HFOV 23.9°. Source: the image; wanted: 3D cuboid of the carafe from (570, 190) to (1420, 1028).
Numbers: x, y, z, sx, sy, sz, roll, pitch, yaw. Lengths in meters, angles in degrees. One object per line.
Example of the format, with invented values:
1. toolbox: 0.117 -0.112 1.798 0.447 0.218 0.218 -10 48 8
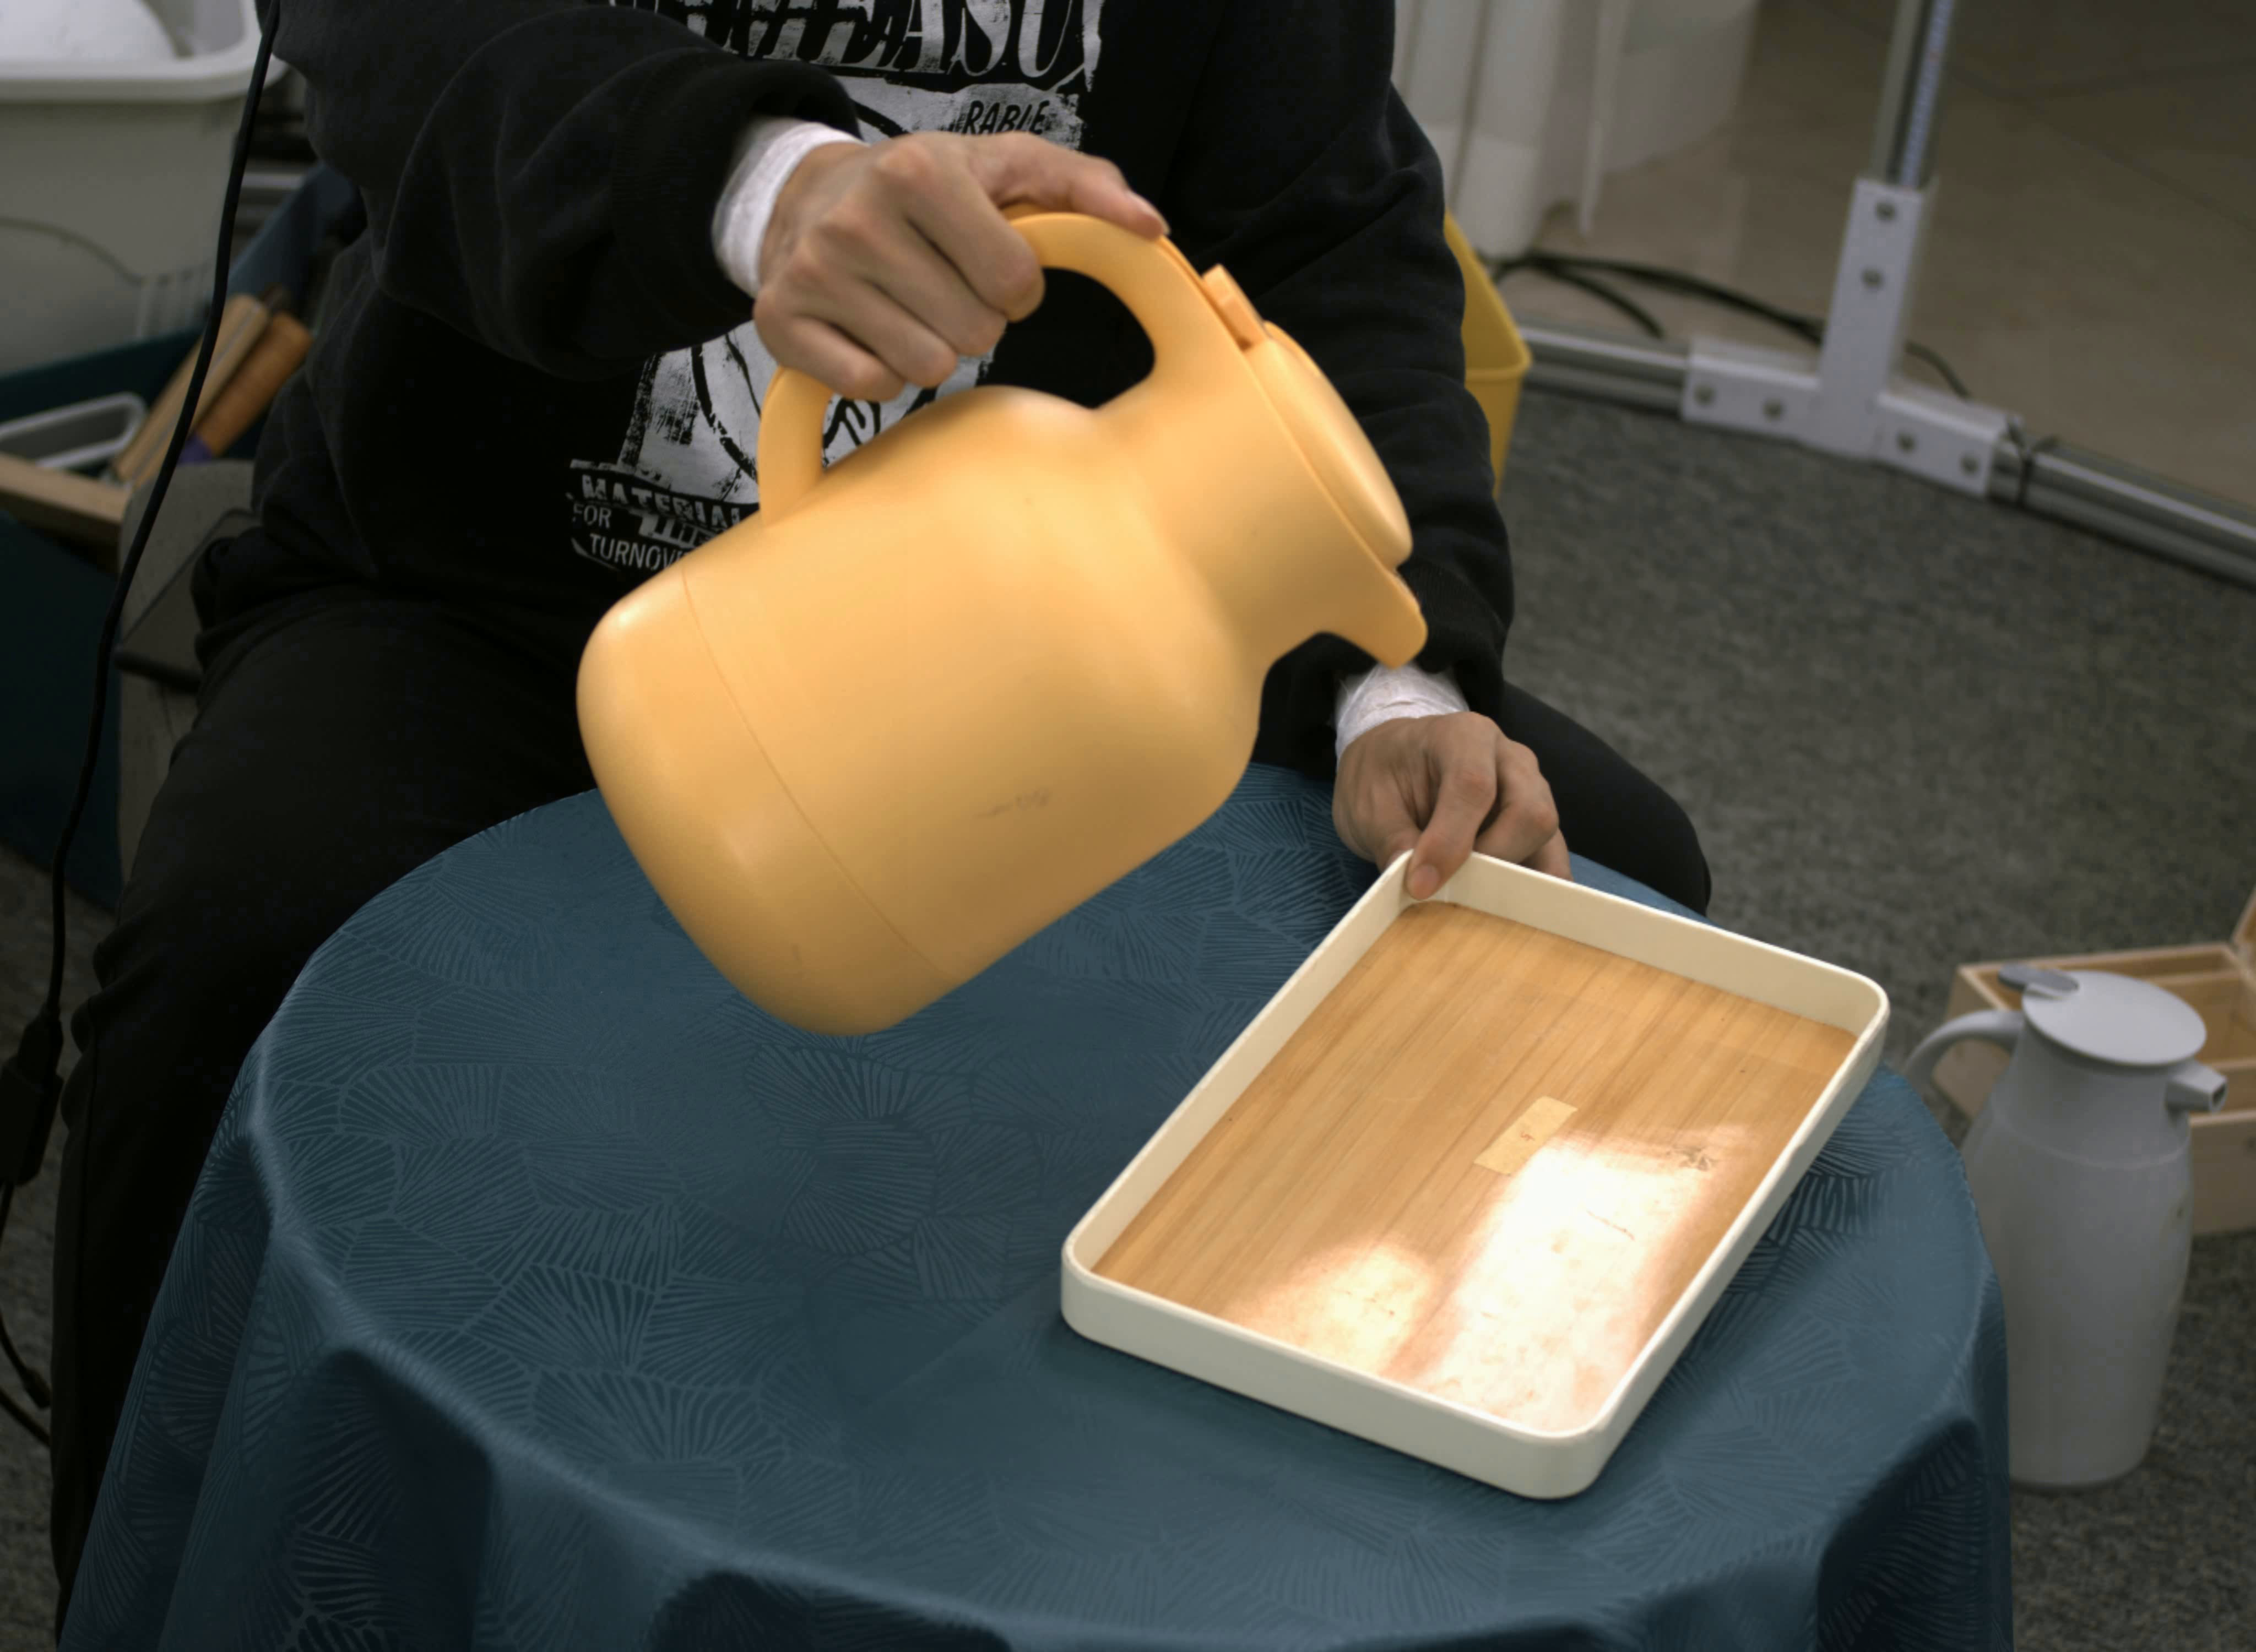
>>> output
1. carafe: -0.049 -0.075 1.688 0.260 0.202 0.164 -32 13 7

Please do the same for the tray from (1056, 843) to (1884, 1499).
1. tray: 0.120 0.109 1.797 0.192 0.027 0.300 18 35 20
